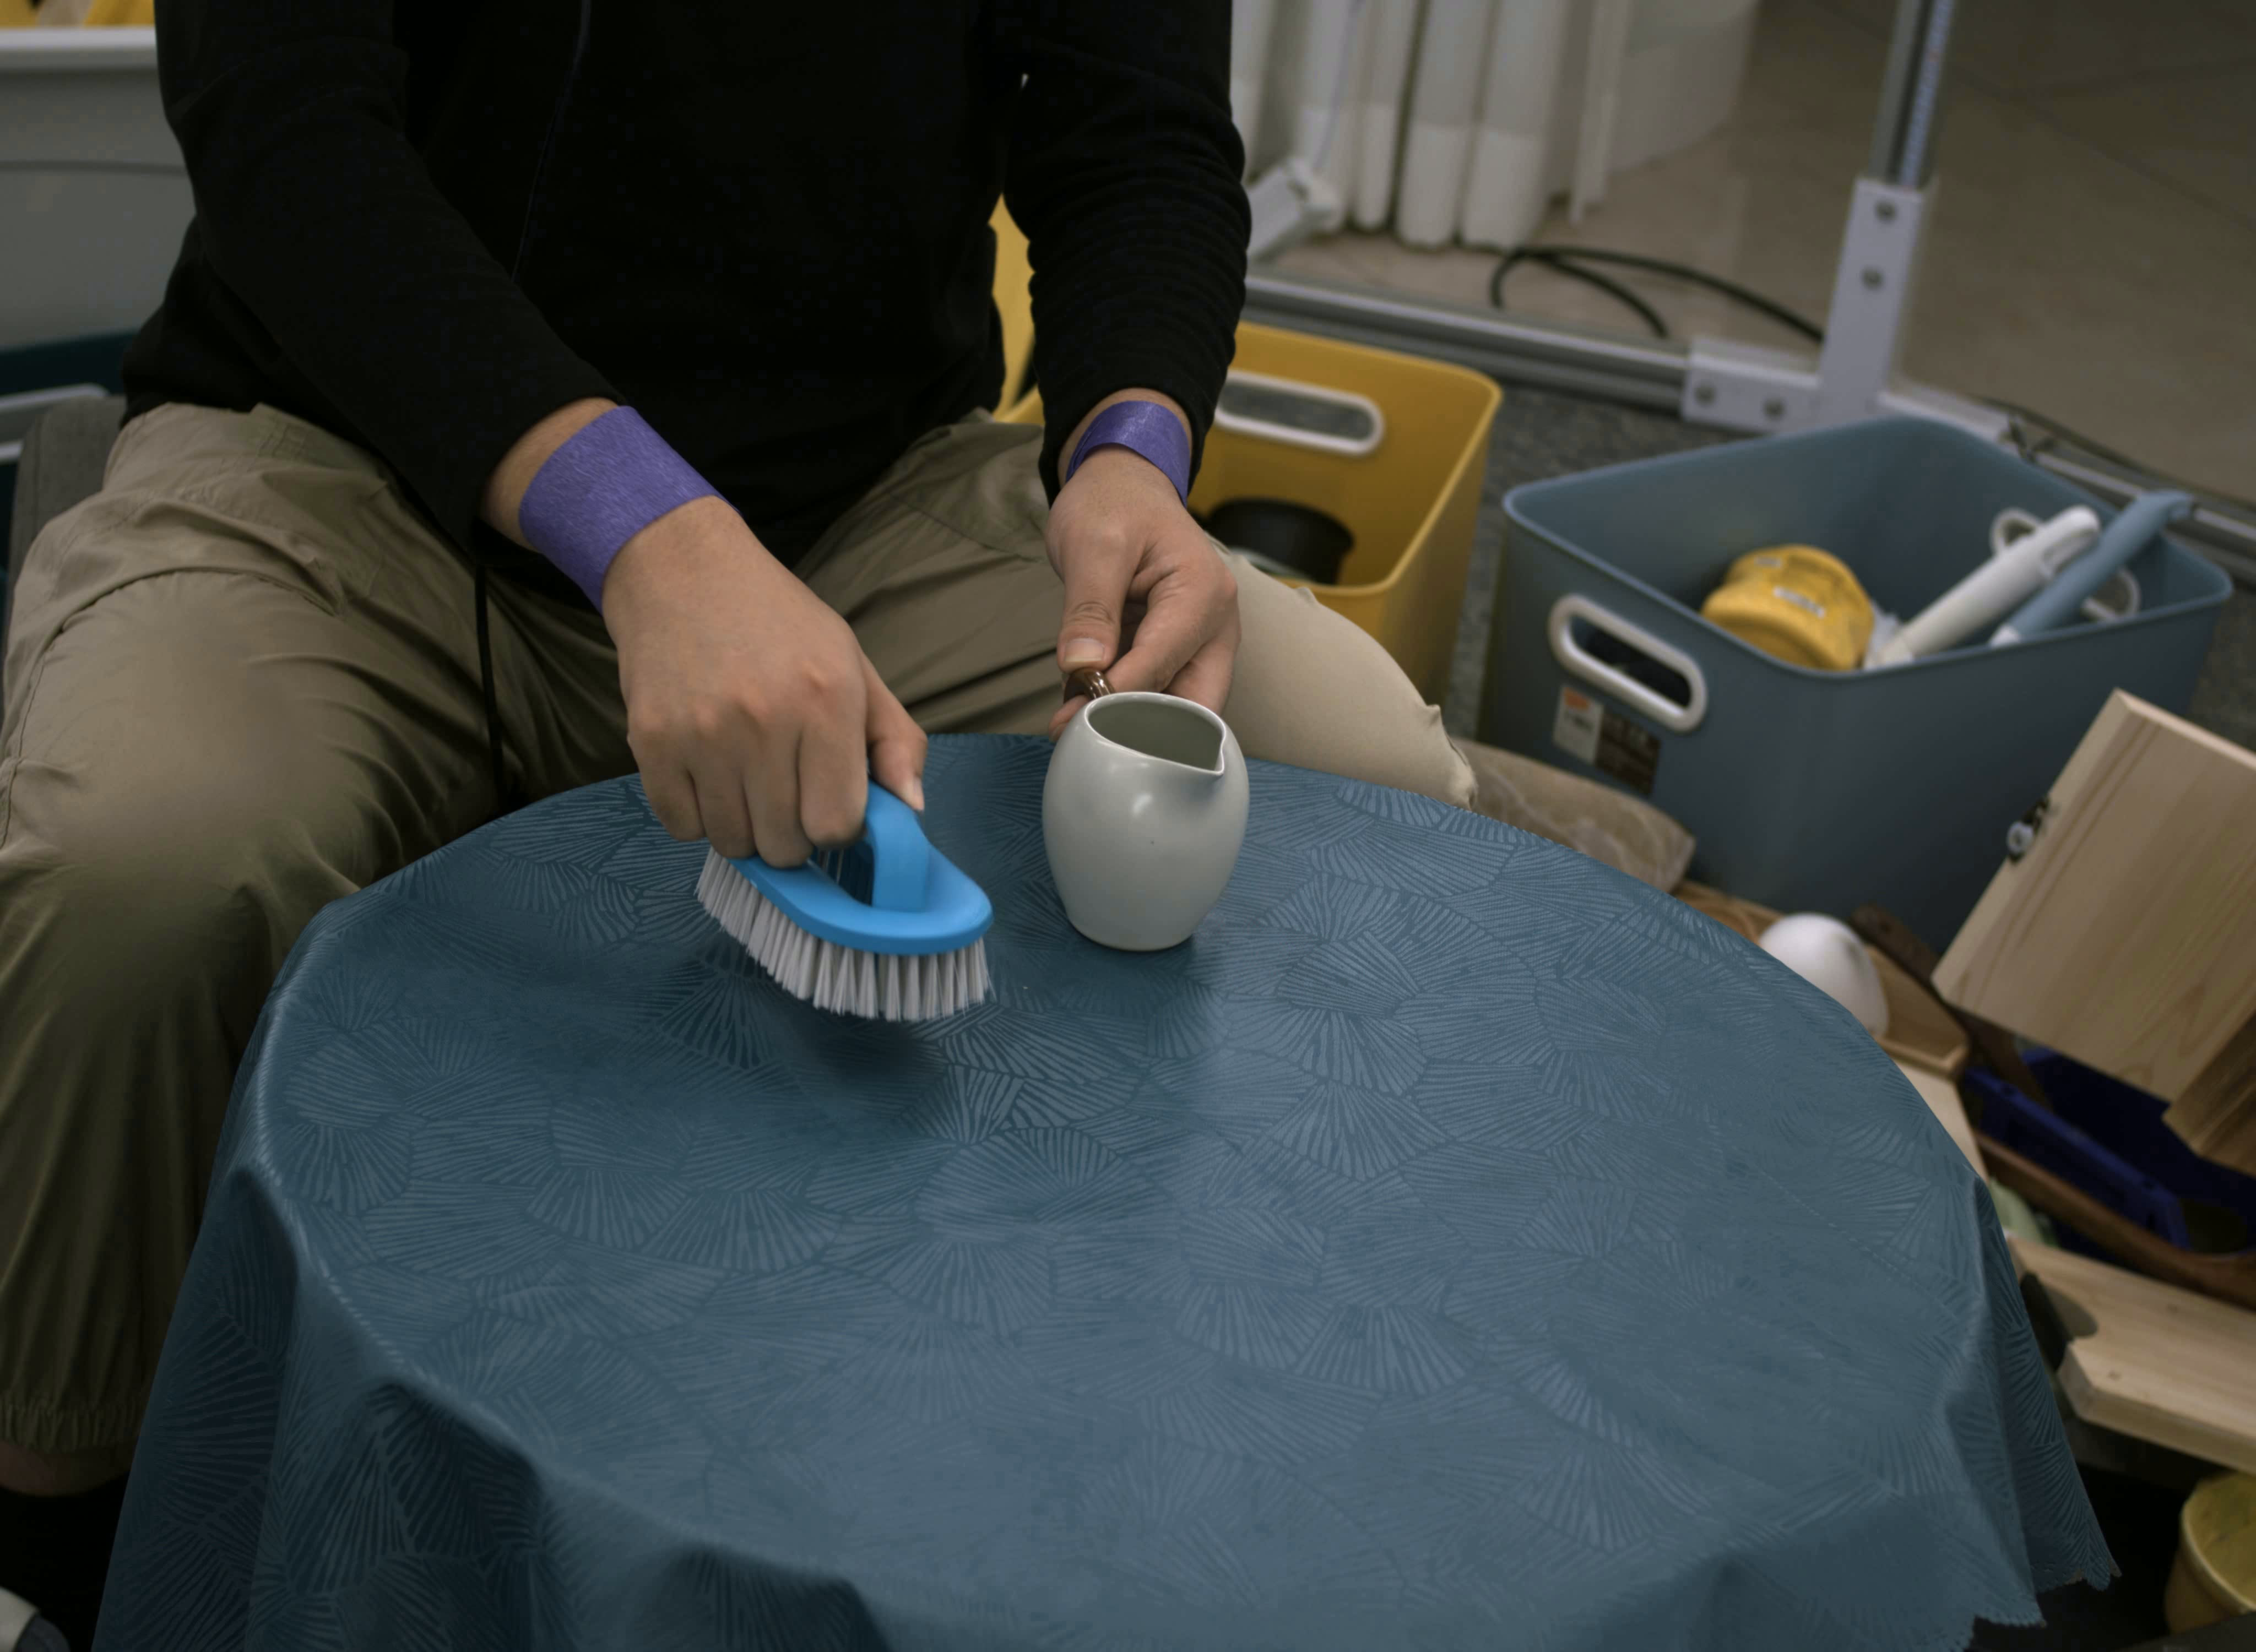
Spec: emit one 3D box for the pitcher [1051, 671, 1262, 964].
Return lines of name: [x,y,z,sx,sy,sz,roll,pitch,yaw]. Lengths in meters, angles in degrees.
pitcher: [0.006,-0.002,1.952,0.075,0.087,0.120,1,30,-25]

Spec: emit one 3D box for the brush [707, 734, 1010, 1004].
brush: [-0.097,0.008,1.869,0.084,0.063,0.143,-9,25,-24]
